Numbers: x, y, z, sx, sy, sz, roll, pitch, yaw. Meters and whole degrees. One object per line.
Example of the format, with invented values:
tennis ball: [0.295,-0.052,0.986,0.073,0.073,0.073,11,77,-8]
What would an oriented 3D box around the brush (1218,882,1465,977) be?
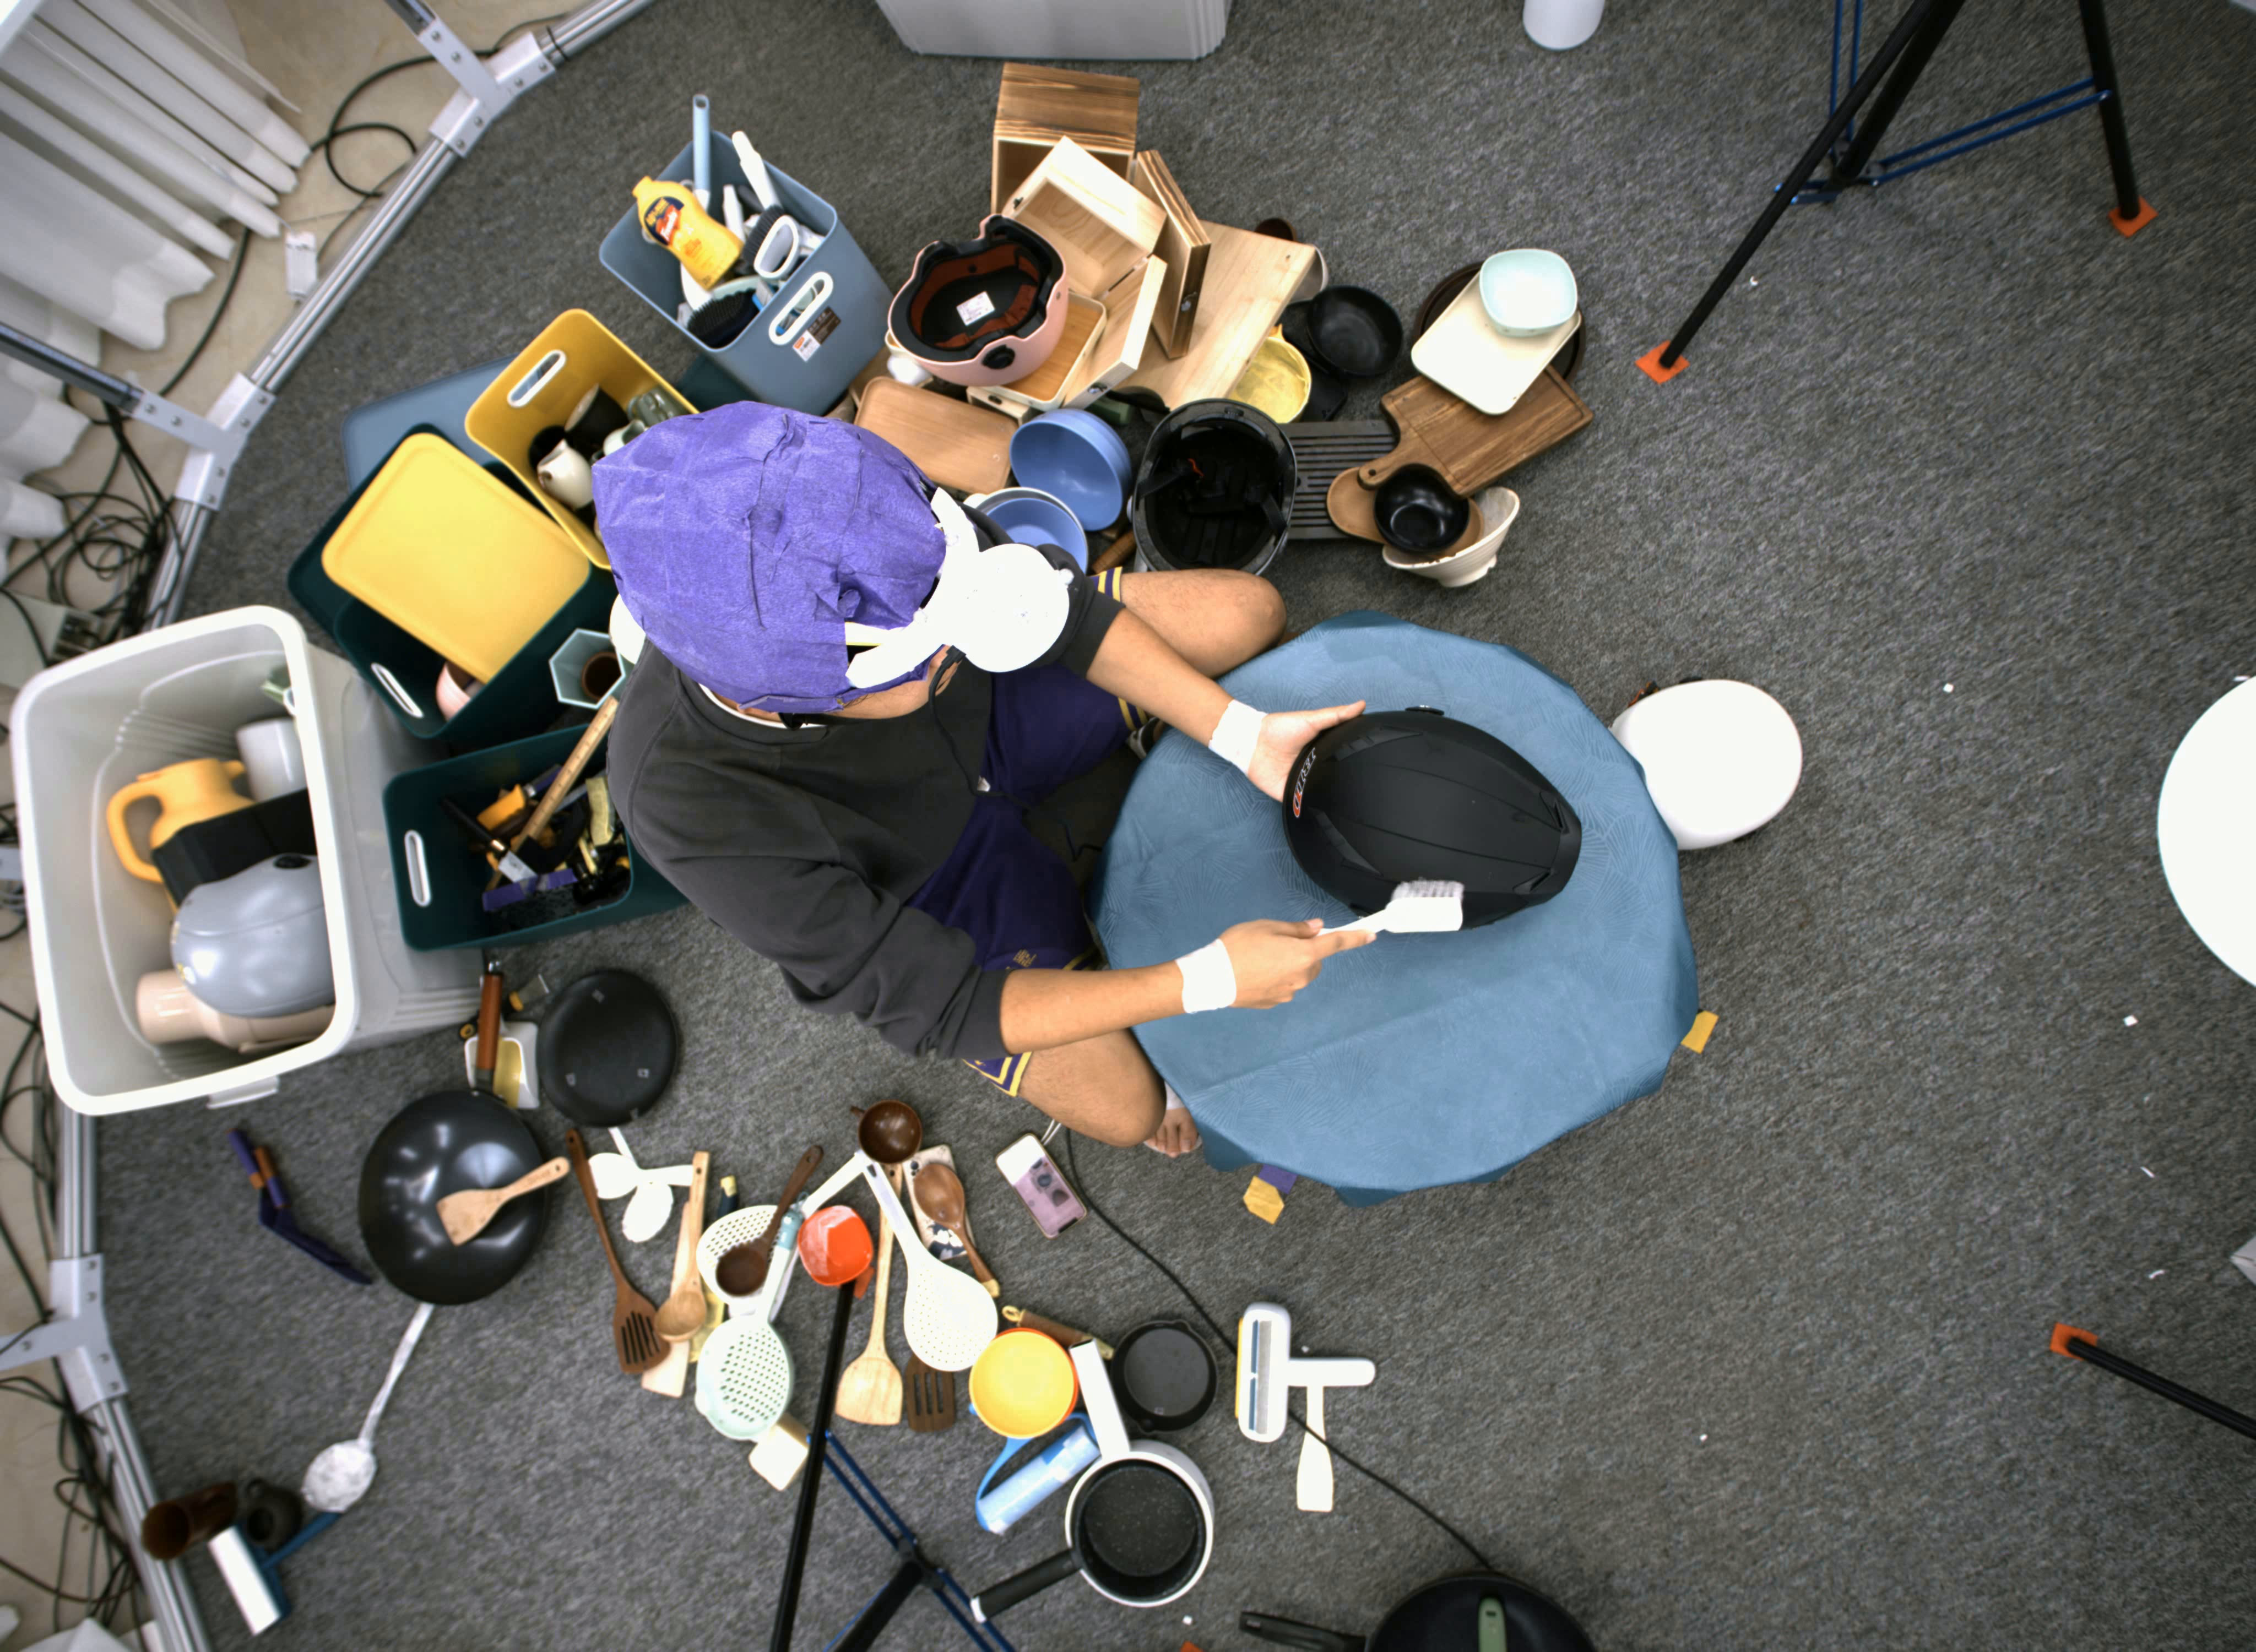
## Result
brush: [0.200,0.094,1.294,0.244,0.049,0.035,-12,128,0]

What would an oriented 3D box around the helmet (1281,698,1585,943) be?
helmet: [0.302,-0.011,1.364,0.277,0.172,0.246,18,88,-4]
